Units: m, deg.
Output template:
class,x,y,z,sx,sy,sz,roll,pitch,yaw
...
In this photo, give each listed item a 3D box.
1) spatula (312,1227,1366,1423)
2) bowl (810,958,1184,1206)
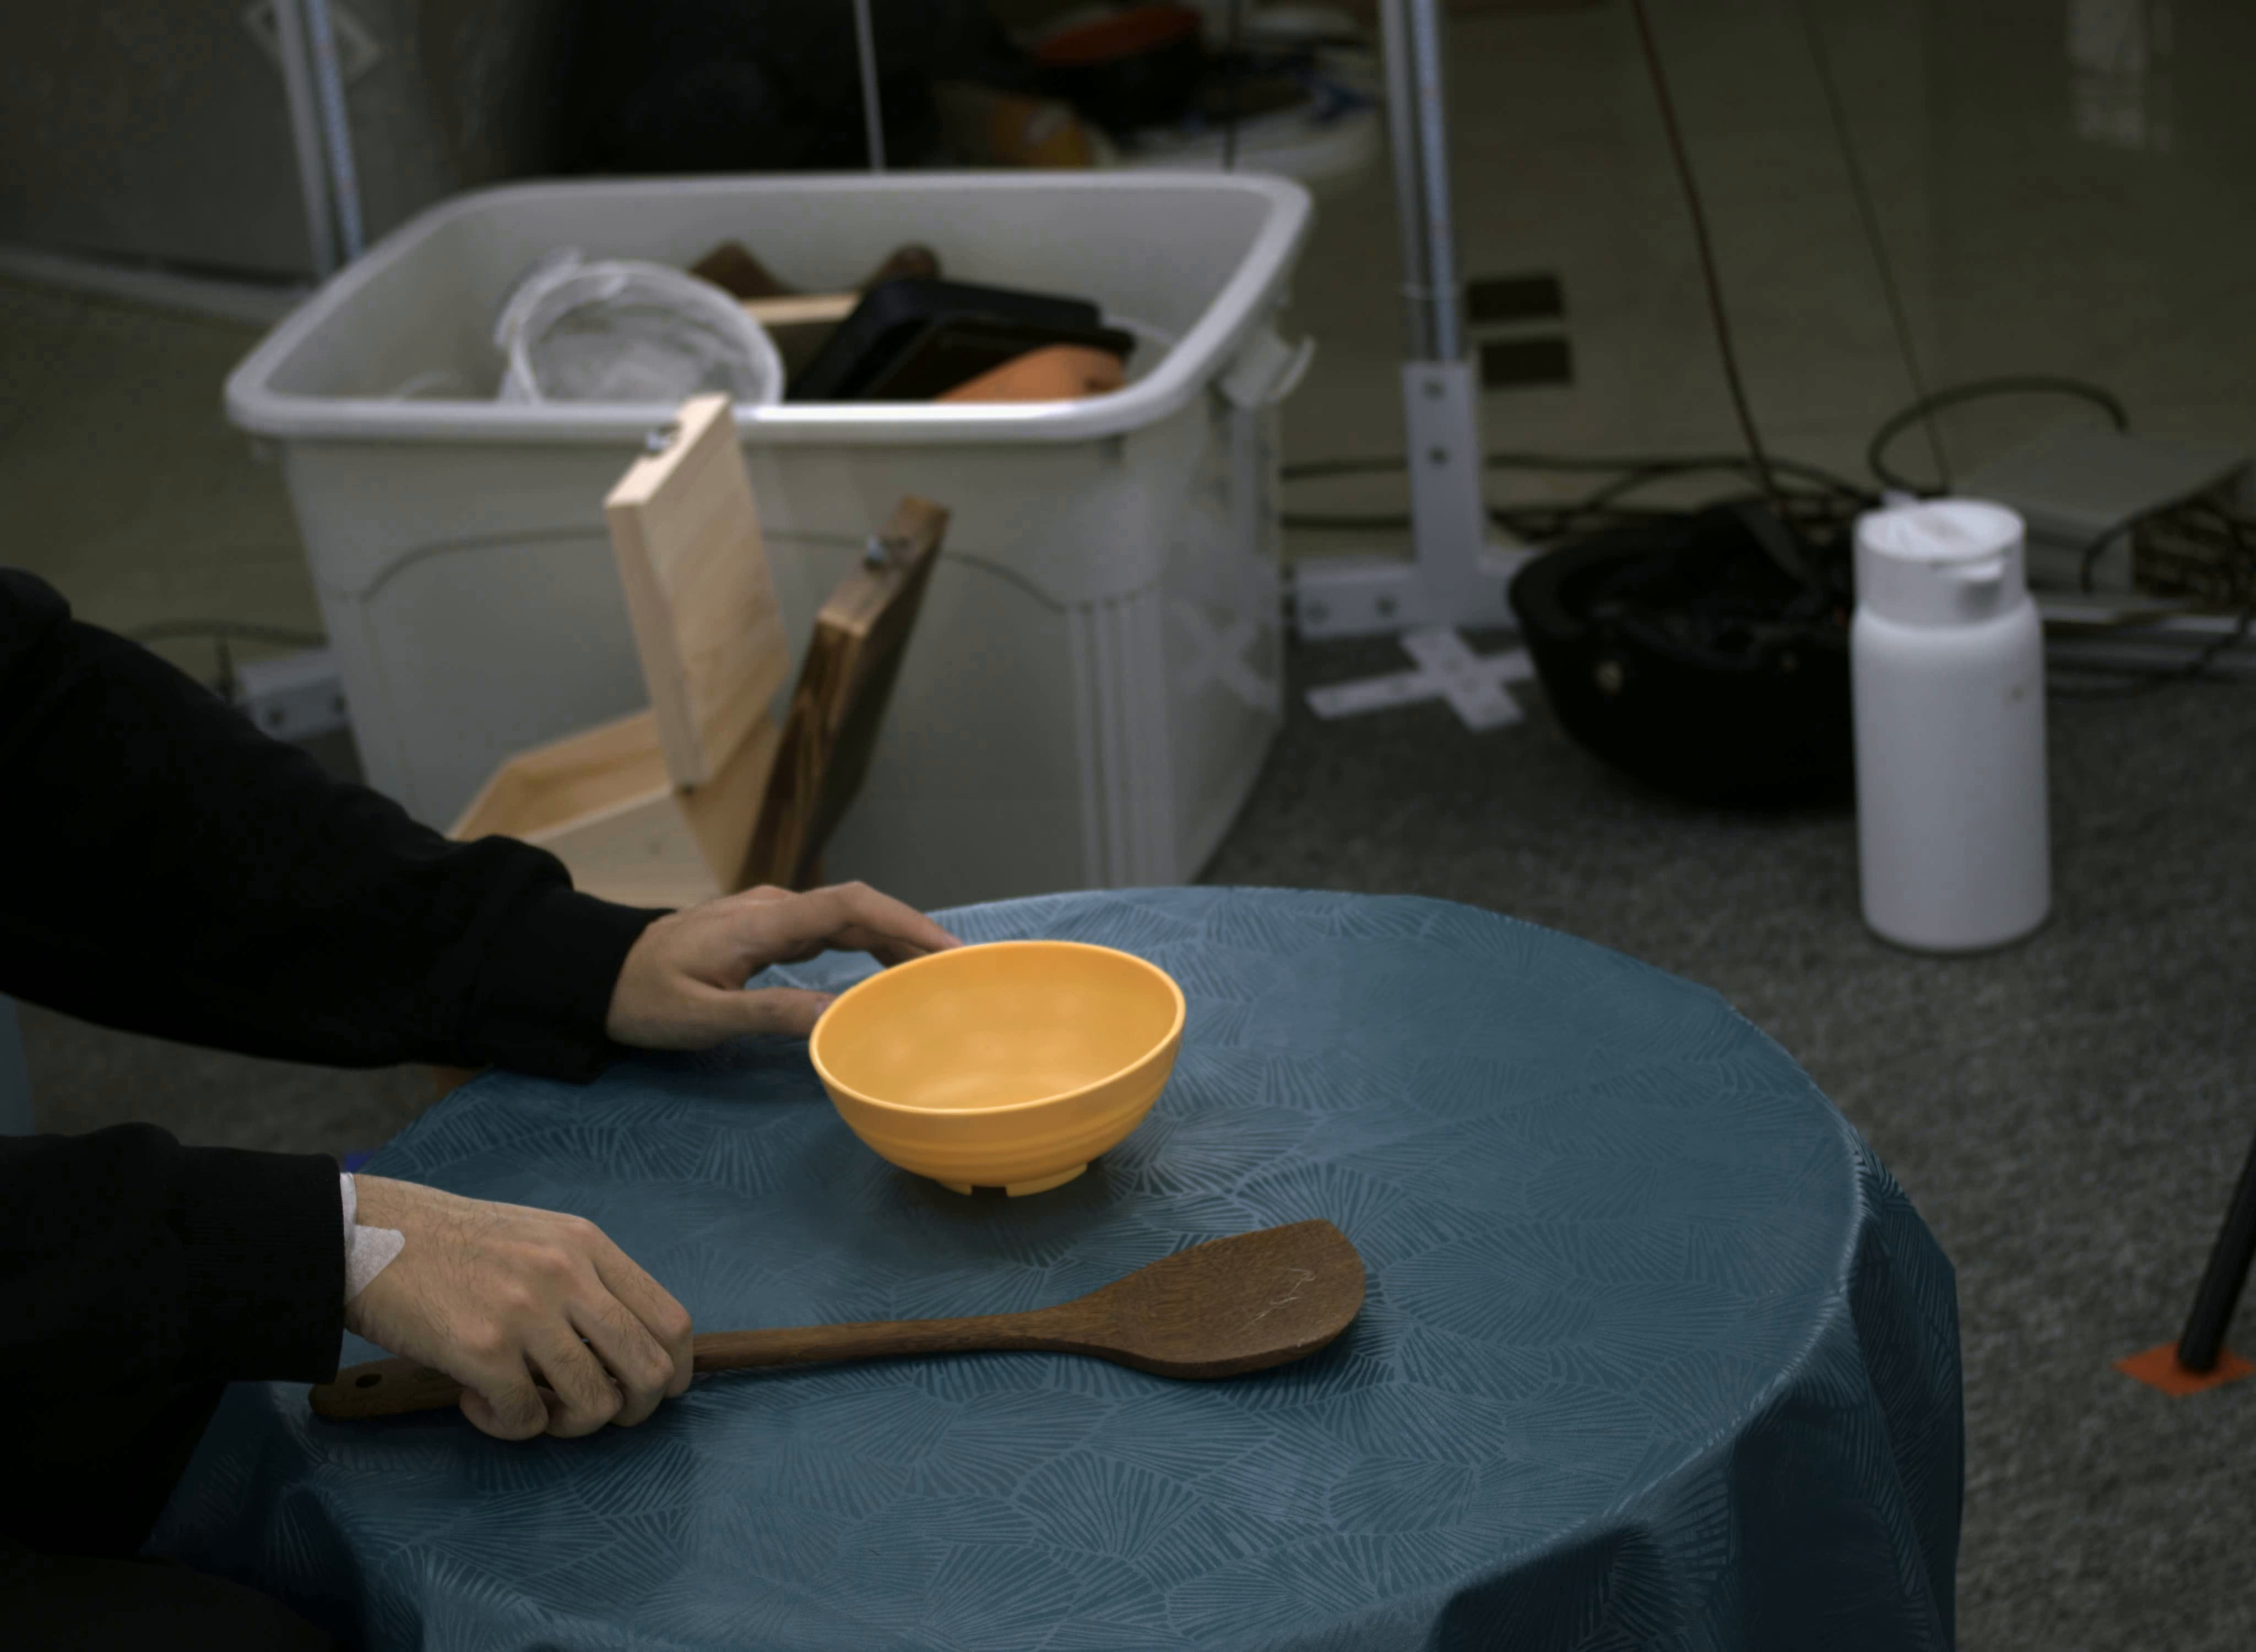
class,x,y,z,sx,sy,sz,roll,pitch,yaw
spatula,-0.106,0.188,2.057,0.385,0.016,0.095,-6,24,2
bowl,-0.047,0.105,2.173,0.145,0.061,0.143,-6,22,3
